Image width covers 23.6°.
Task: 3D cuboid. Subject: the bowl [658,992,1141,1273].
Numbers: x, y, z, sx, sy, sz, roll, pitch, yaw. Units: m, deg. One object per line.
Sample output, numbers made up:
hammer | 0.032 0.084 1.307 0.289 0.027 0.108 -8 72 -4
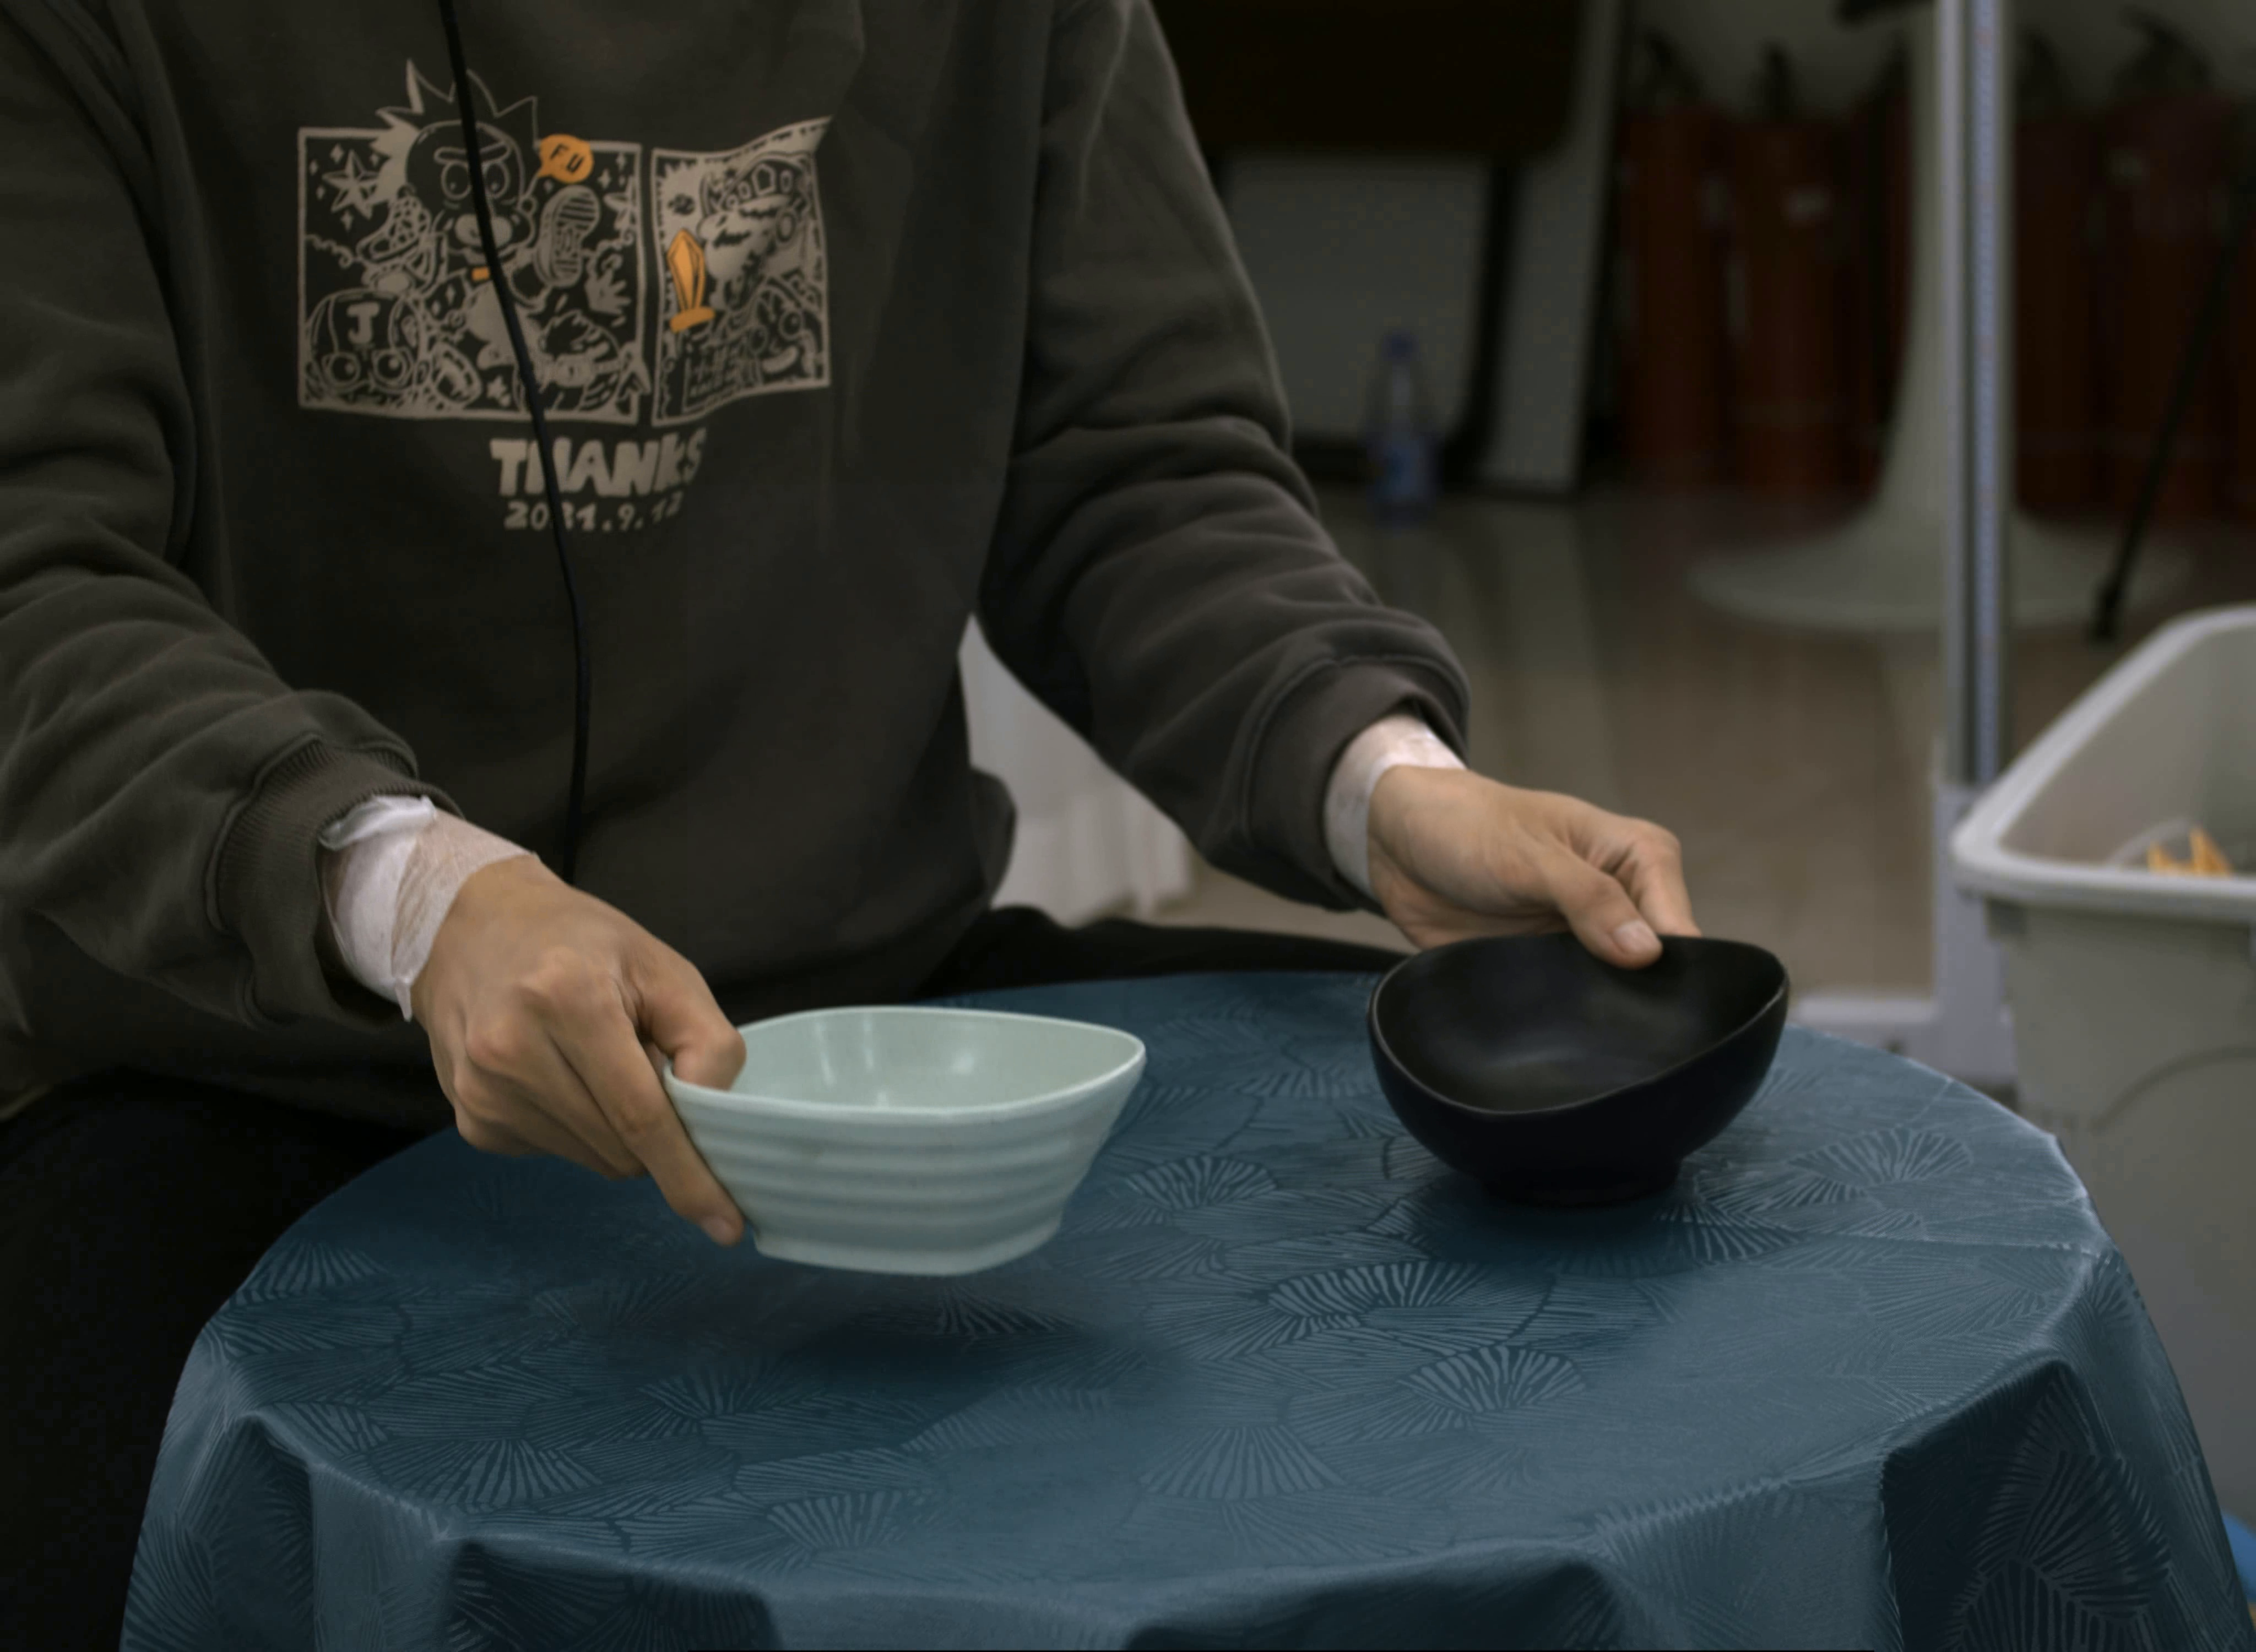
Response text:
bowl | -0.069 0.095 1.640 0.149 0.059 0.151 1 10 -1

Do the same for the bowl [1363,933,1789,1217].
bowl | 0.147 0.085 1.746 0.137 0.067 0.169 0 16 20
